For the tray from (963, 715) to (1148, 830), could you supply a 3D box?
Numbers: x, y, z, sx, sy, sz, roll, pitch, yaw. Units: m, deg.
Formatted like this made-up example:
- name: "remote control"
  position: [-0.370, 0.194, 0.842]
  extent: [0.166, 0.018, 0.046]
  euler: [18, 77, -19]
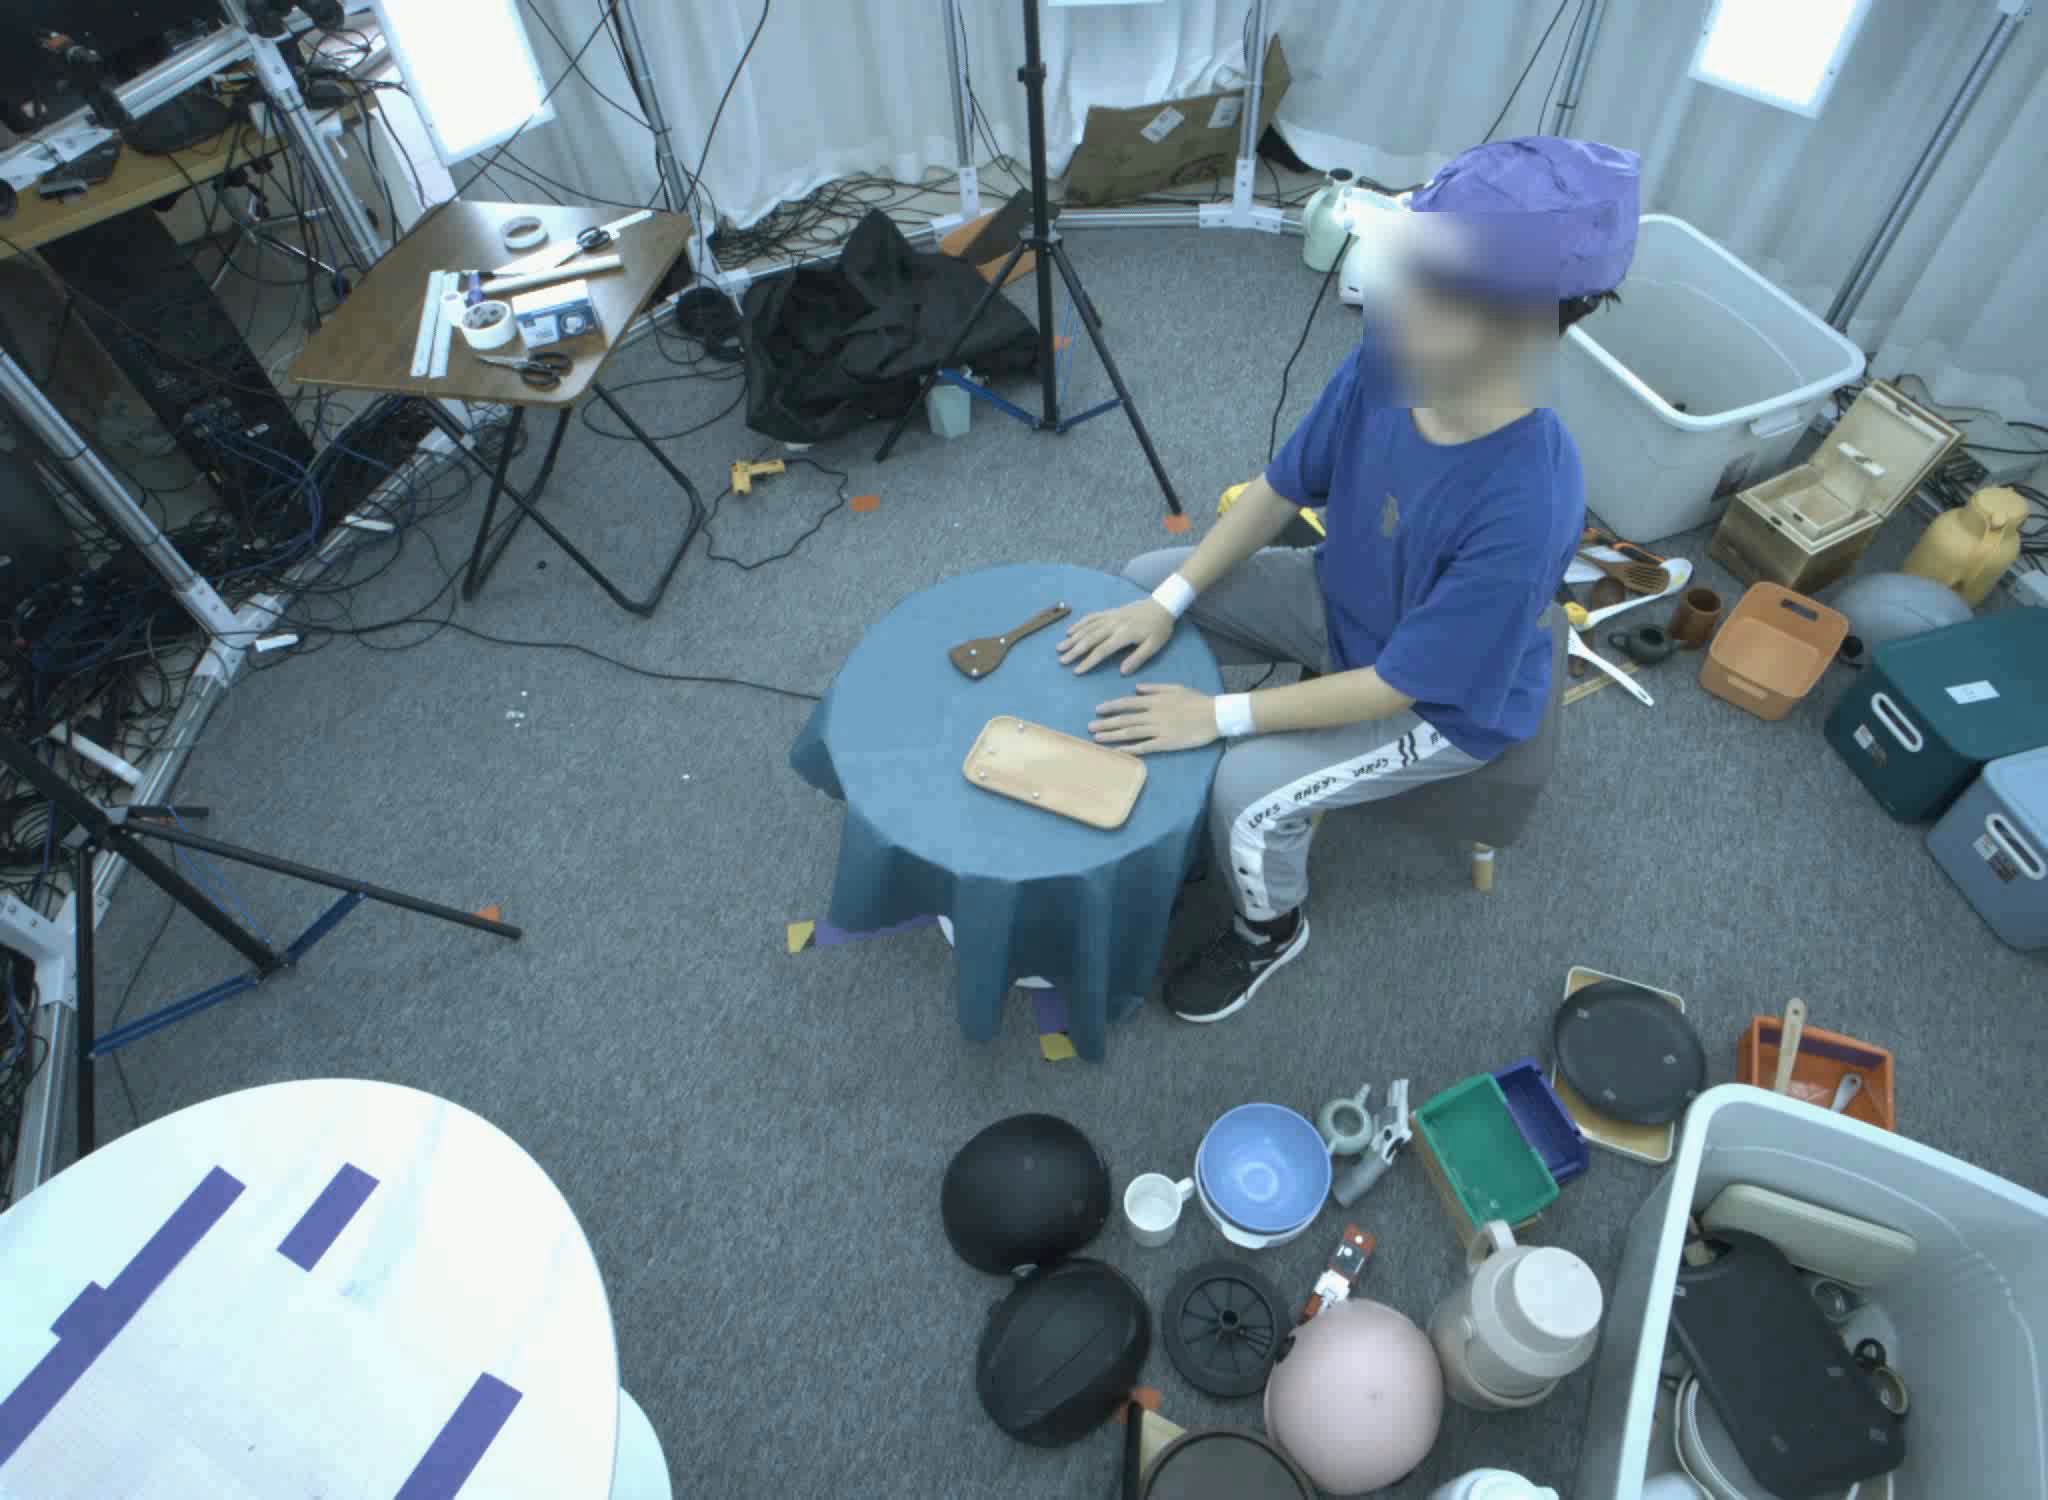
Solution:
- name: "tray"
  position: [0.045, 0.031, 1.744]
  extent: [0.248, 0.023, 0.130]
  euler: [20, 60, 15]

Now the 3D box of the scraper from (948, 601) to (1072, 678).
- name: "scraper"
  position: [-0.015, -0.177, 1.900]
  extent: [0.213, 0.011, 0.074]
  euler: [-31, 60, -20]
